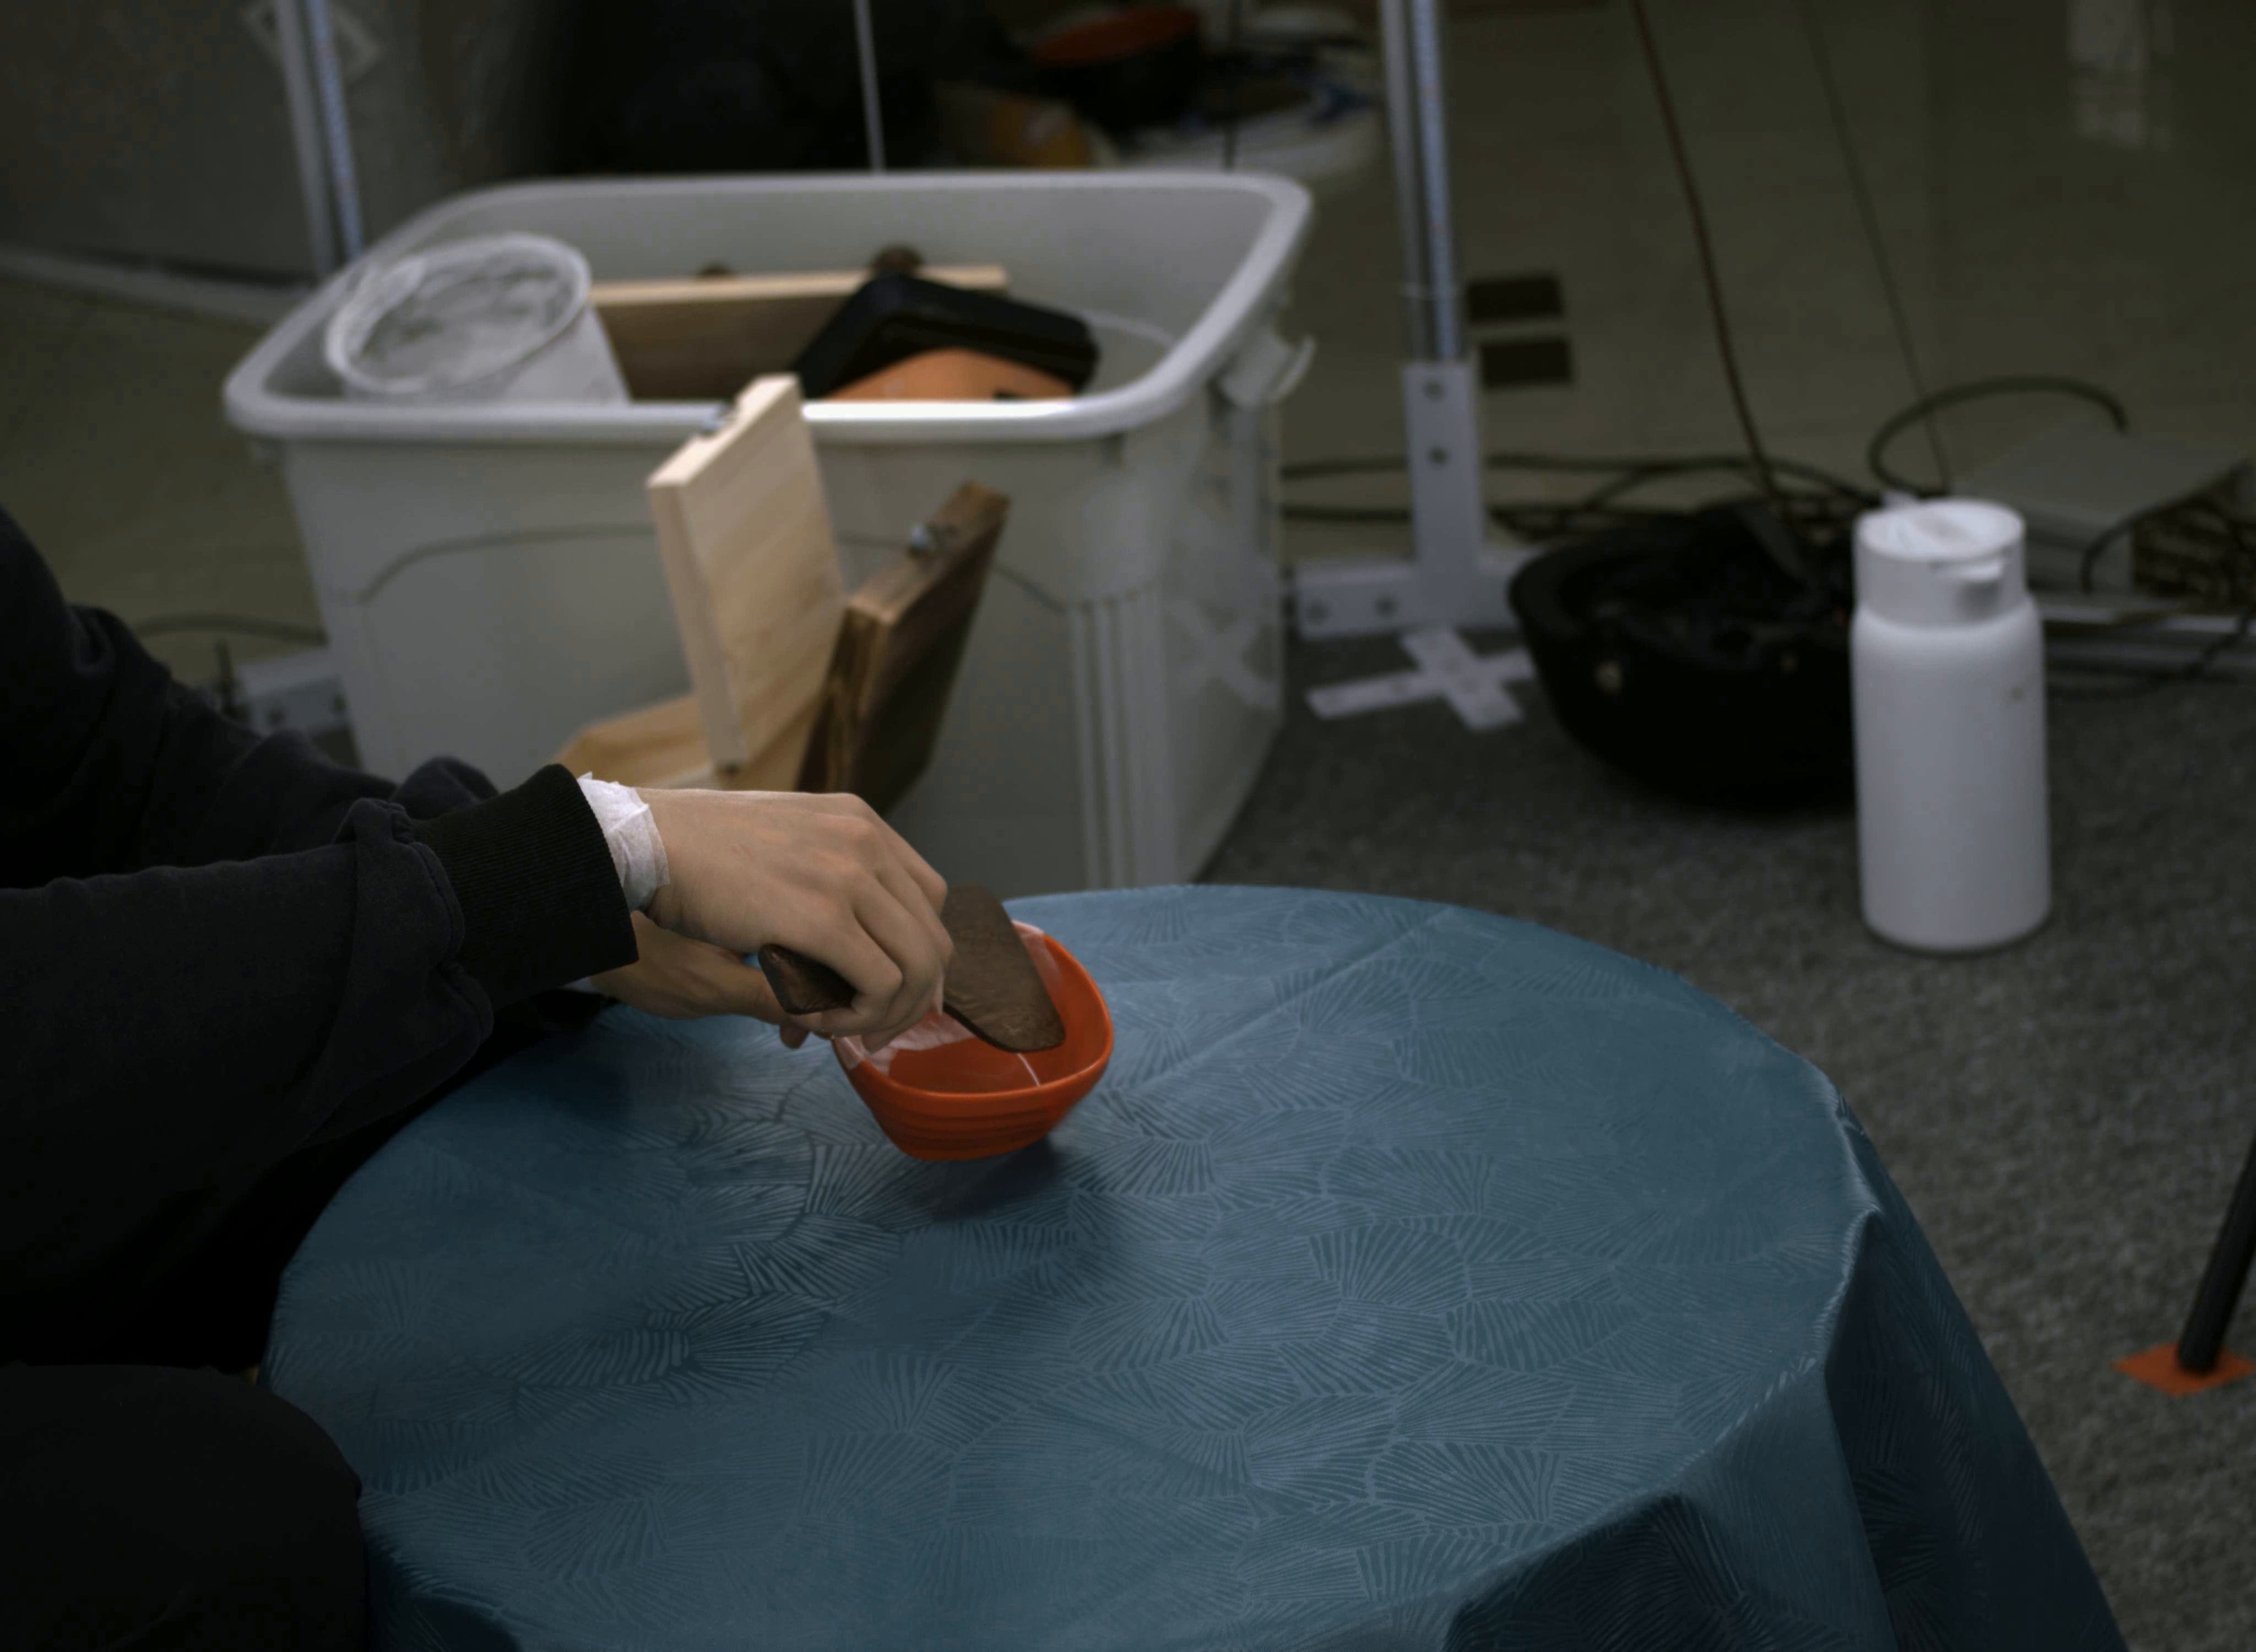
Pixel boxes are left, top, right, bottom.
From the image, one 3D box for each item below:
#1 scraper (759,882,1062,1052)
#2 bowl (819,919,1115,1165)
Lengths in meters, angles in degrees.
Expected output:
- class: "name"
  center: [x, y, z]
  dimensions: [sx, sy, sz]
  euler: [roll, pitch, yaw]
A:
- class: "scraper"
  center: [-0.084, 0.055, 2.111]
  dimensions: [0.011, 0.075, 0.211]
  euler: [-33, -13, 20]
- class: "bowl"
  center: [-0.065, 0.089, 2.194]
  dimensions: [0.119, 0.052, 0.117]
  euler: [6, 38, -5]
